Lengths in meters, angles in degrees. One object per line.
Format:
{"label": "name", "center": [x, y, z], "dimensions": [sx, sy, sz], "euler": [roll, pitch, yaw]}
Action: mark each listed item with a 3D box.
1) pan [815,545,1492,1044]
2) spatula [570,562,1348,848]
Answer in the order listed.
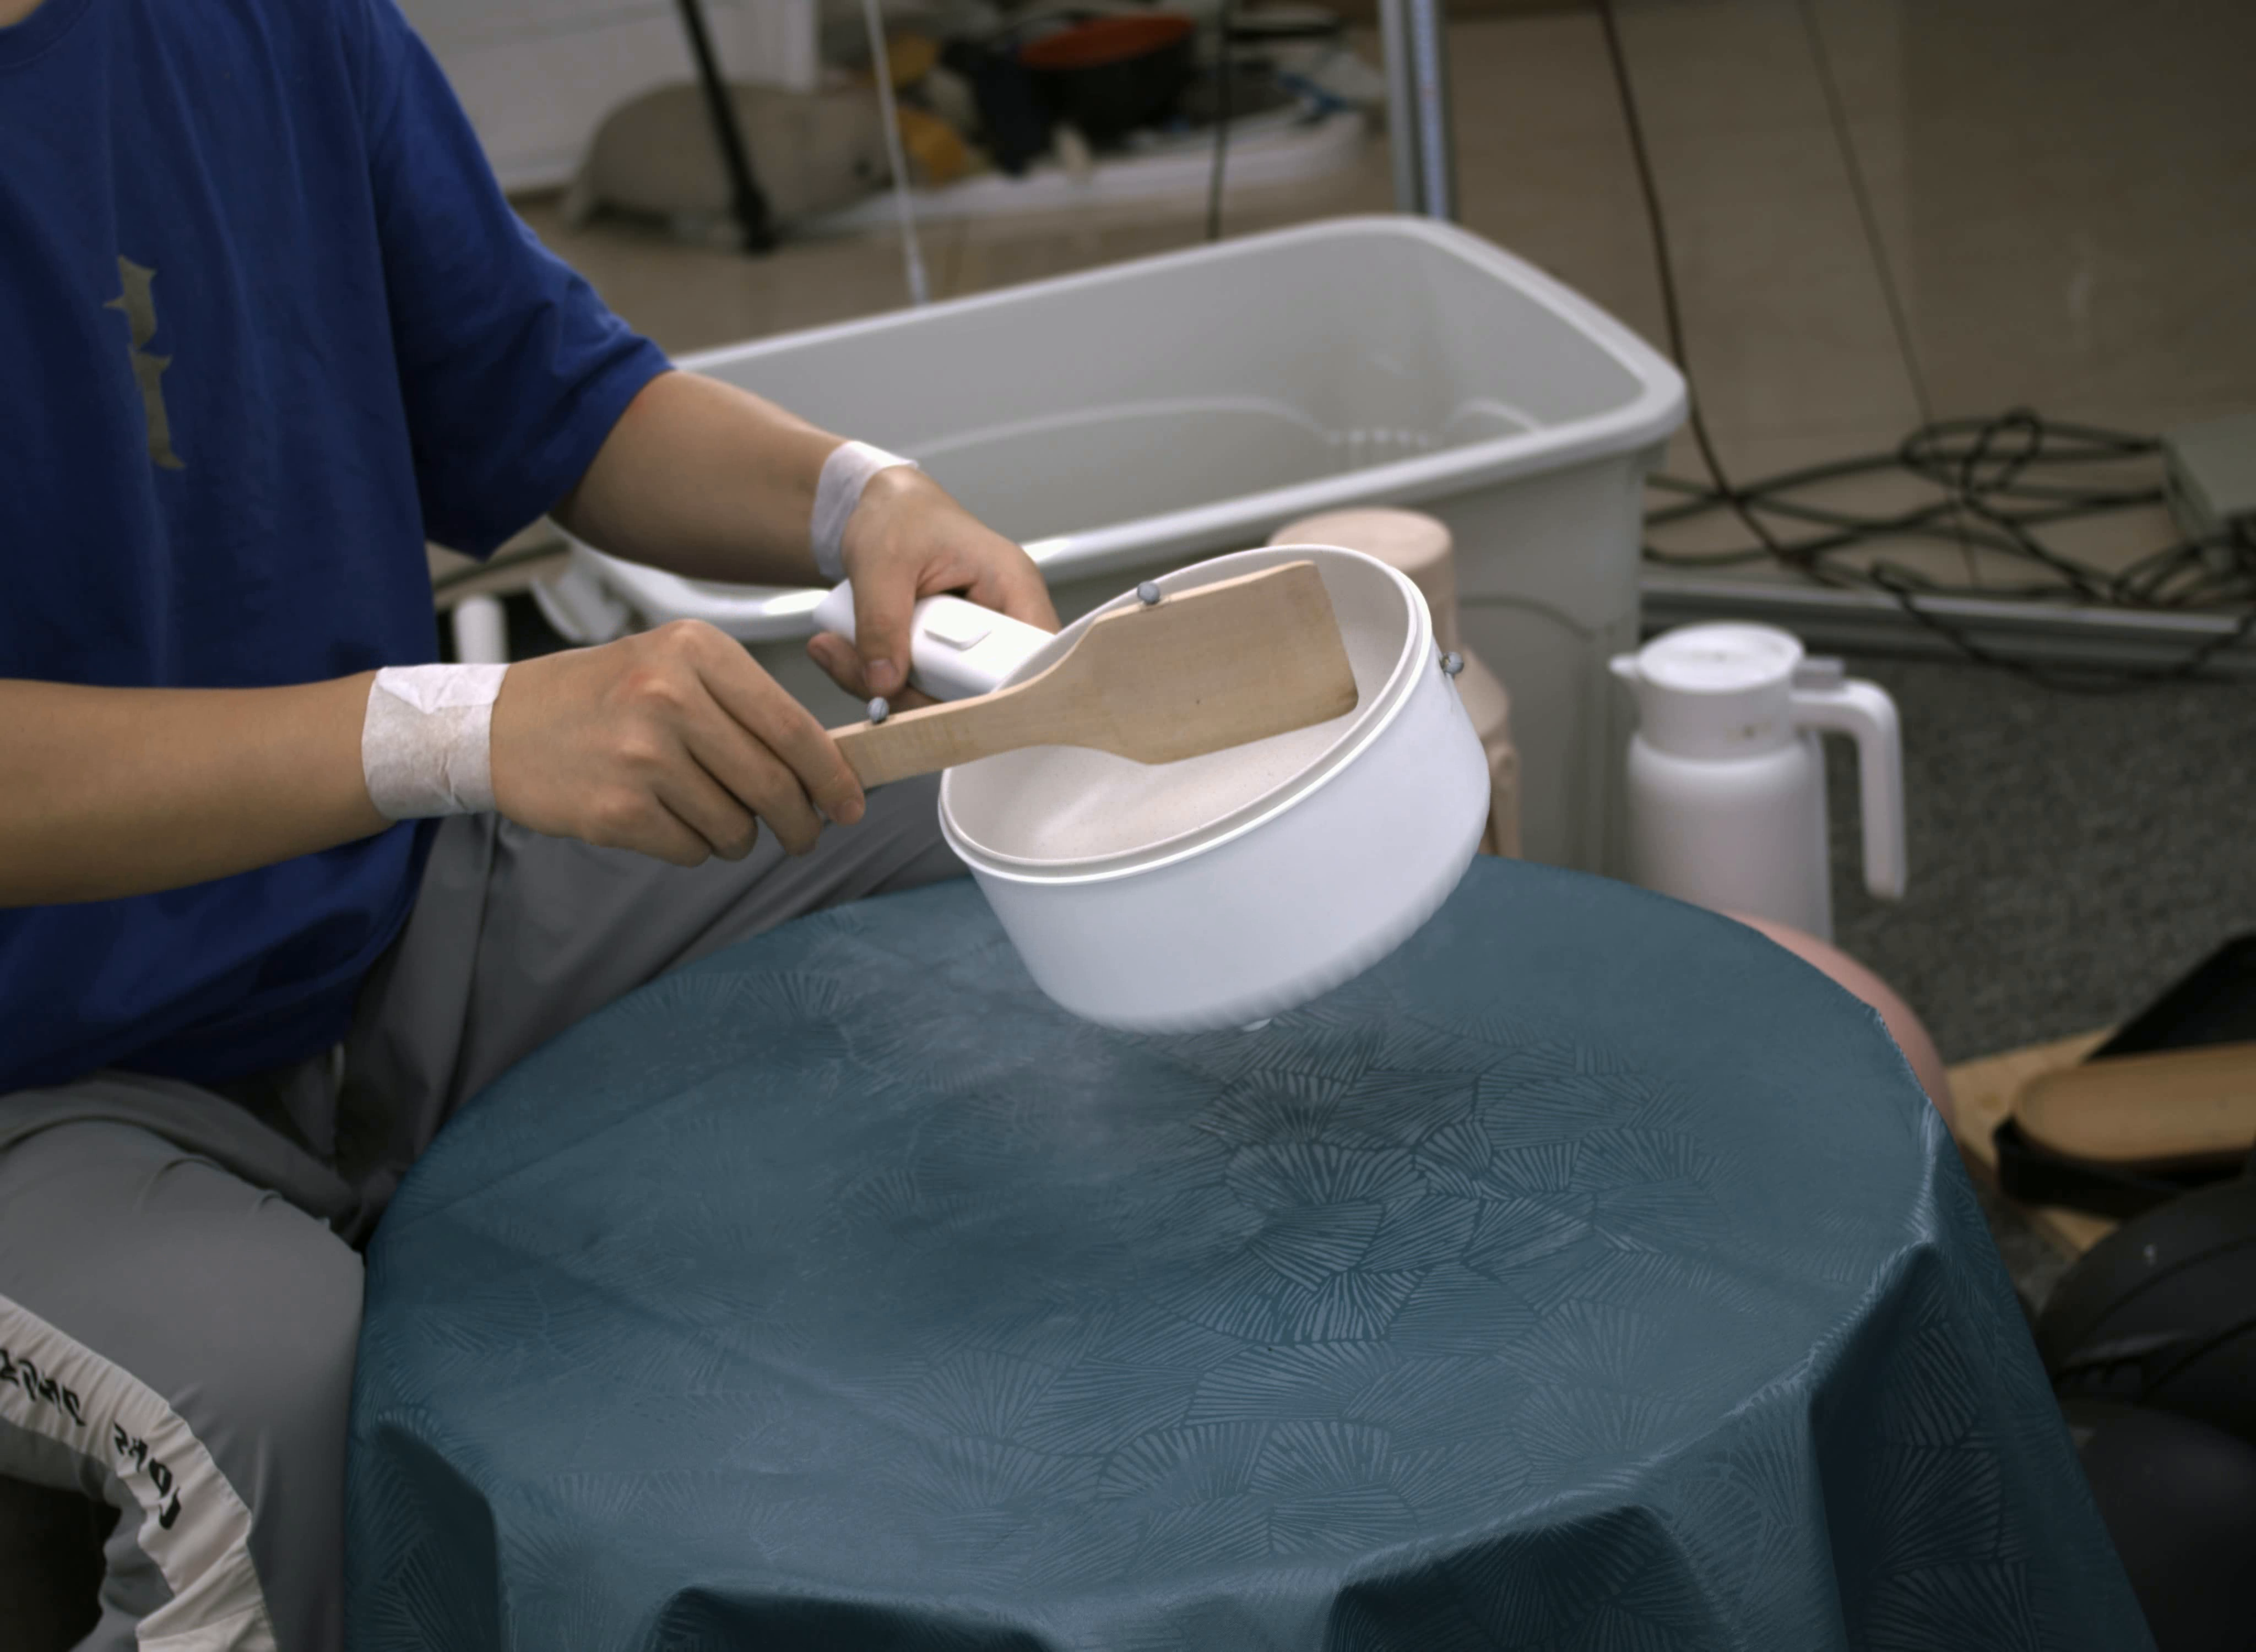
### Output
{"label": "pan", "center": [-0.004, -0.024, 2.210], "dimensions": [0.200, 0.103, 0.352], "euler": [-41, 33, -18]}
{"label": "spatula", "center": [-0.066, -0.036, 2.089], "dimensions": [0.293, 0.073, 0.010], "euler": [-14, 37, 8]}
